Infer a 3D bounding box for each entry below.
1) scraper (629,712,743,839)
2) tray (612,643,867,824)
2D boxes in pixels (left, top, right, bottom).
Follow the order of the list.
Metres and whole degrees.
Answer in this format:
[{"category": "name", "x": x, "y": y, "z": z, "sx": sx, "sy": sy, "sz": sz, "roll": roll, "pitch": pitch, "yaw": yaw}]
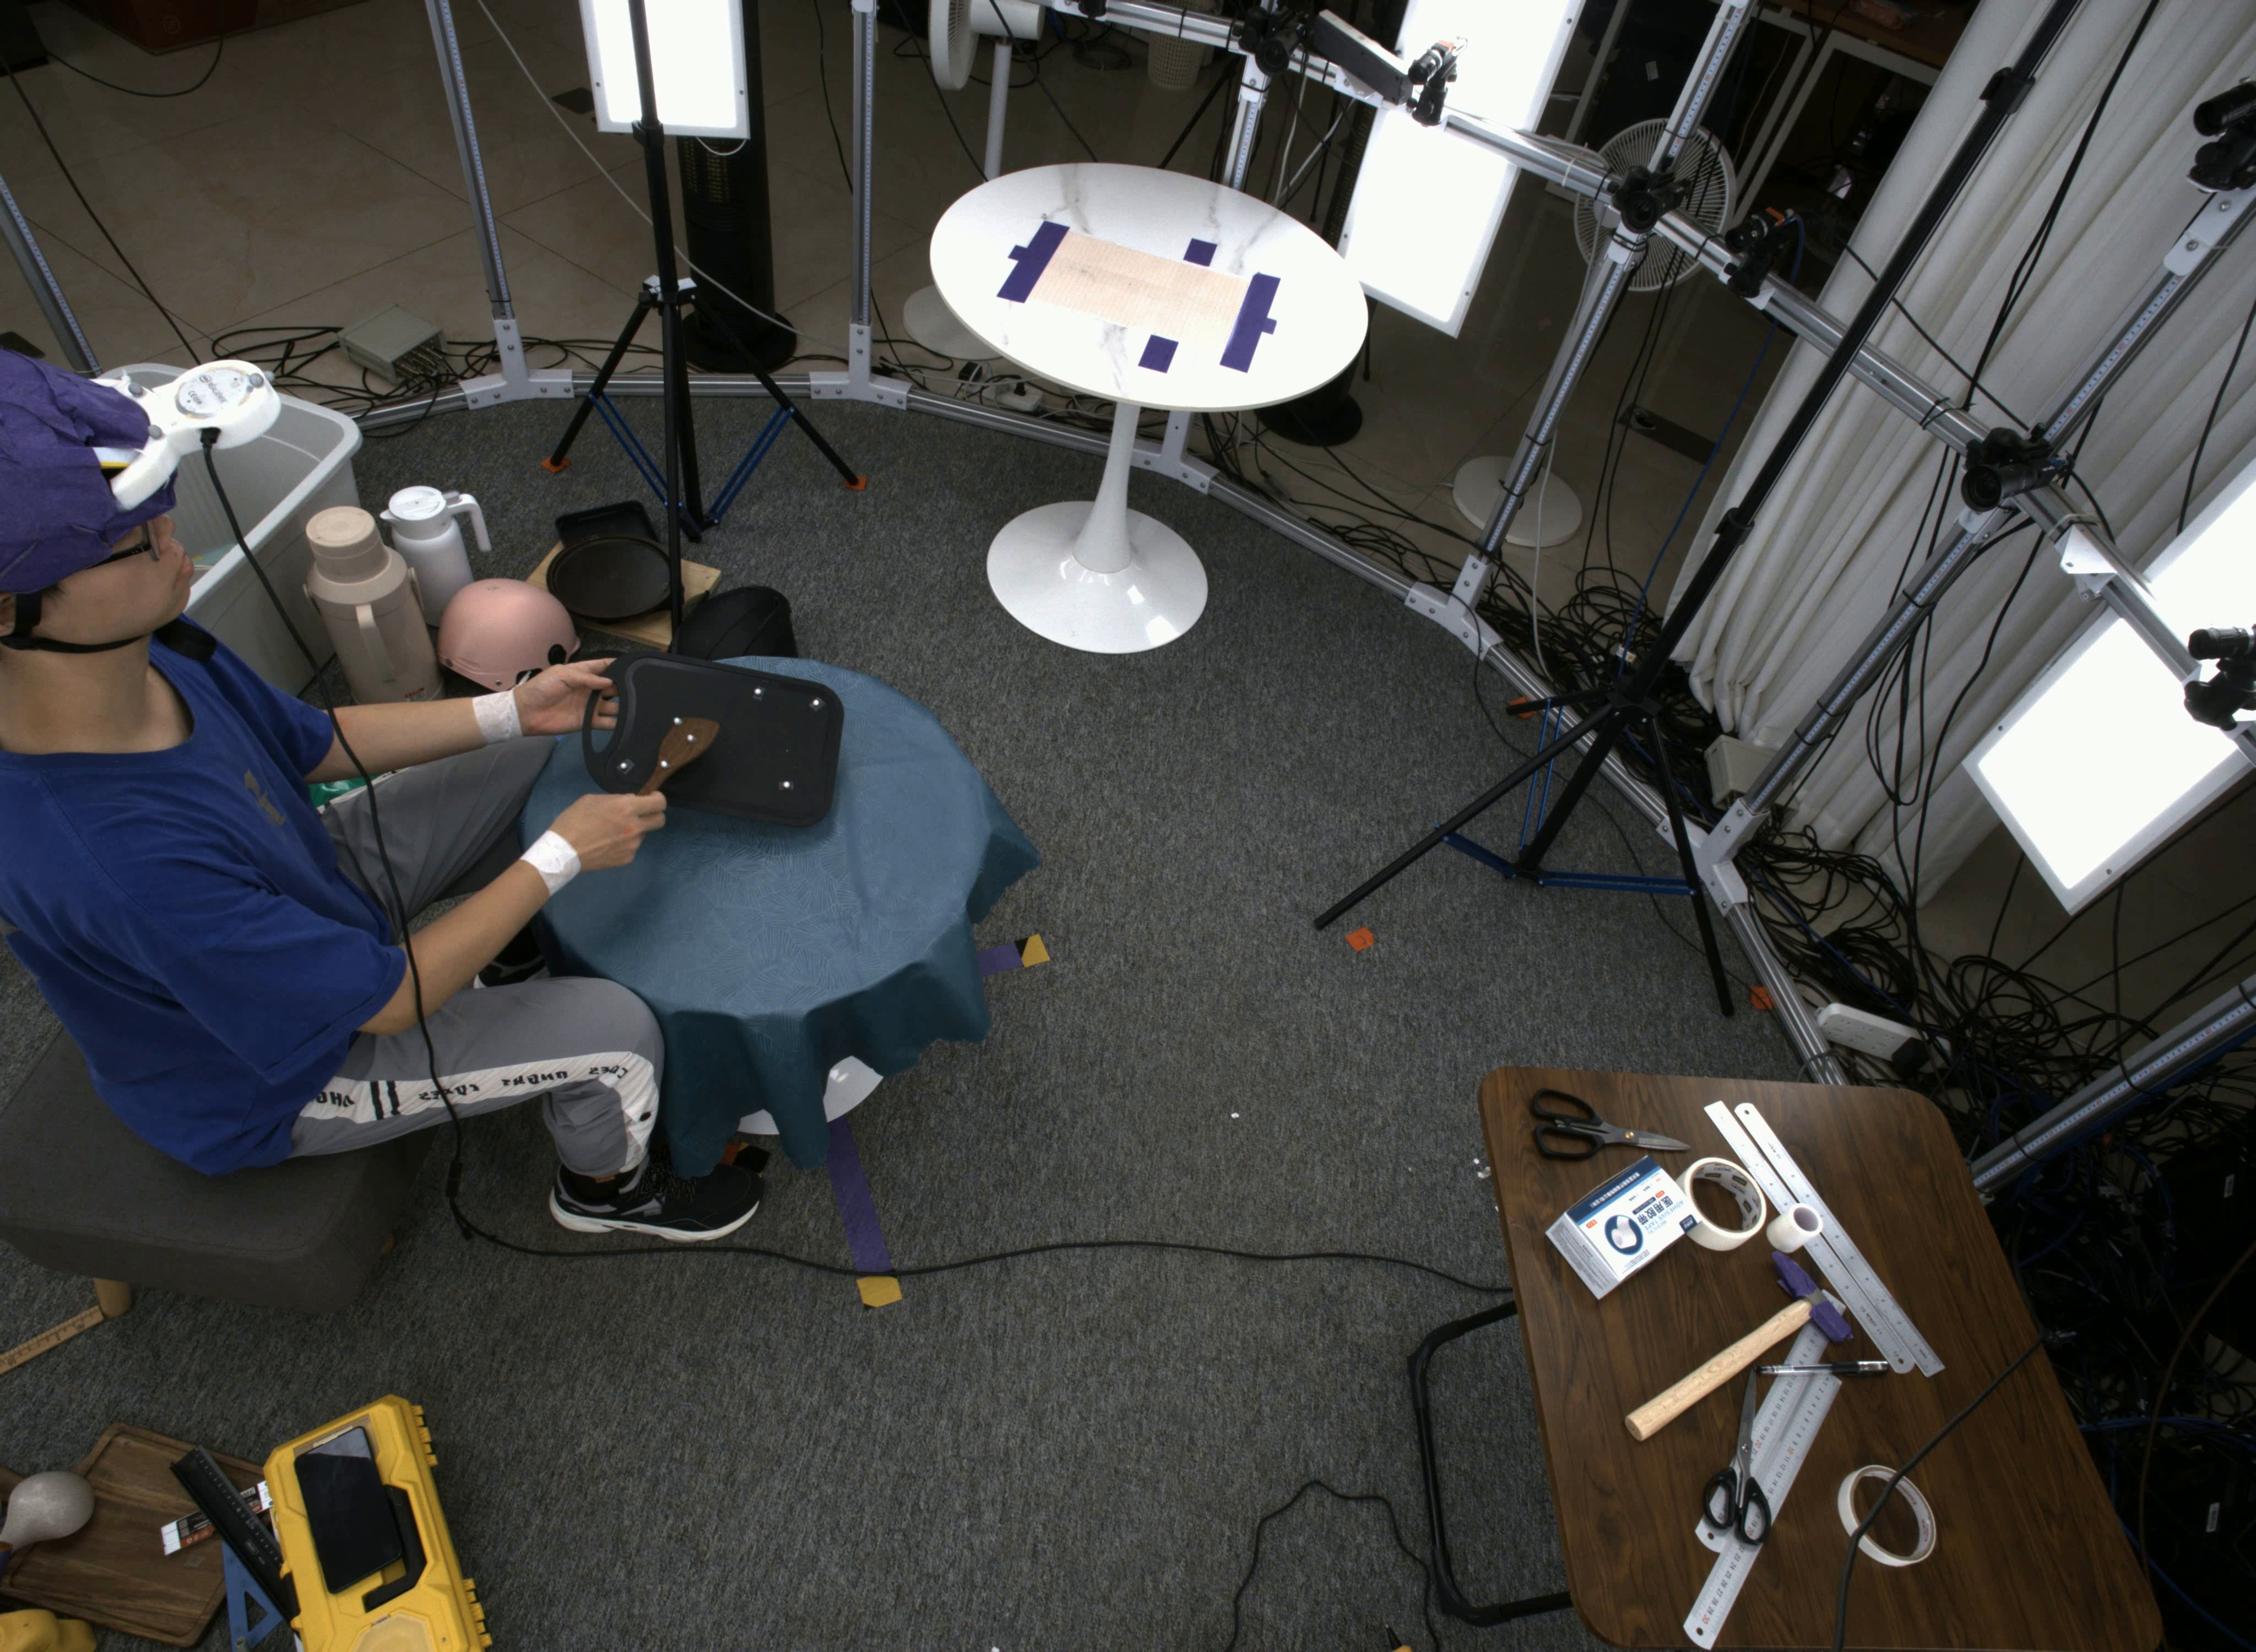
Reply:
[{"category": "scraper", "x": -0.556, "y": -0.065, "z": 1.603, "sx": 0.073, "sy": 0.011, "sz": 0.210, "roll": 9, "pitch": 52, "yaw": 24}, {"category": "tray", "x": -0.512, "y": -0.124, "z": 1.691, "sx": 0.328, "sy": 0.010, "sz": 0.210, "roll": 12, "pitch": 70, "yaw": -19}]
